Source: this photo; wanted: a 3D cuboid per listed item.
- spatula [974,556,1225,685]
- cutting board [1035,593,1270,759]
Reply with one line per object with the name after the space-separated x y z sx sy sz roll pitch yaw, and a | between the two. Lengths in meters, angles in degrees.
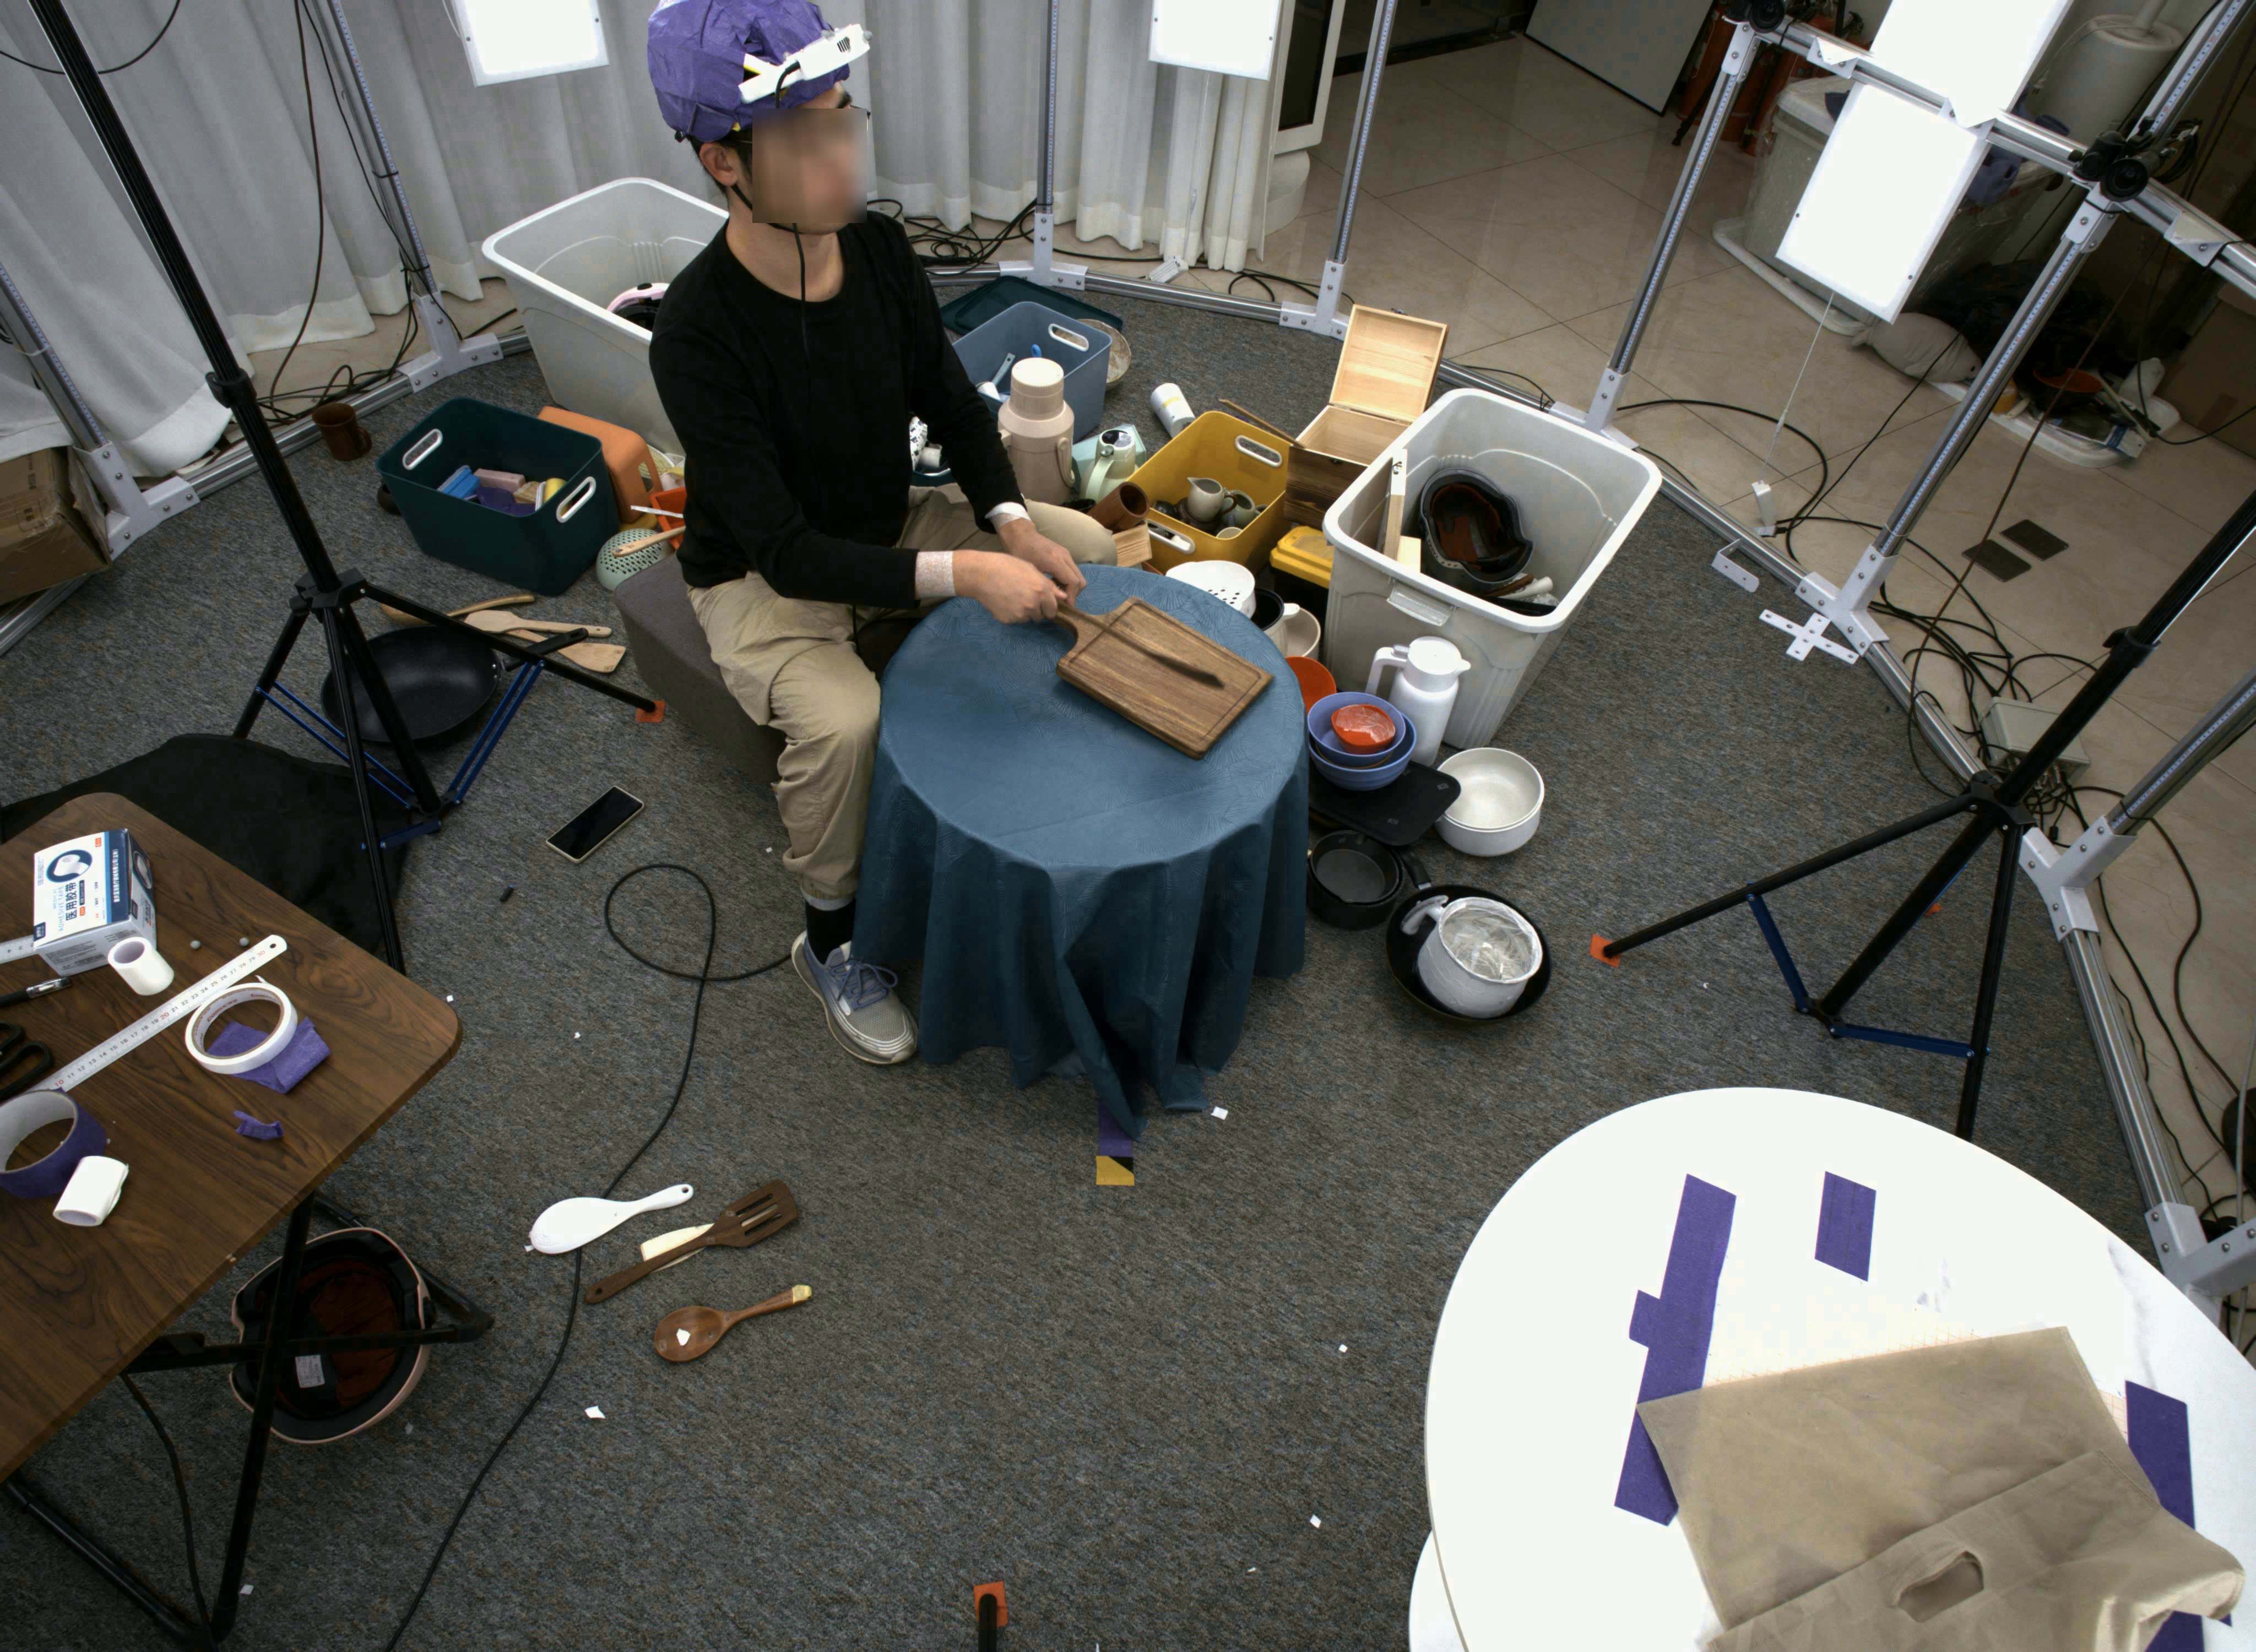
-0.040 -0.279 1.726 0.388 0.095 0.016 28 92 11 | spatula
0.012 -0.244 1.852 0.355 0.022 0.204 32 54 16 | cutting board
